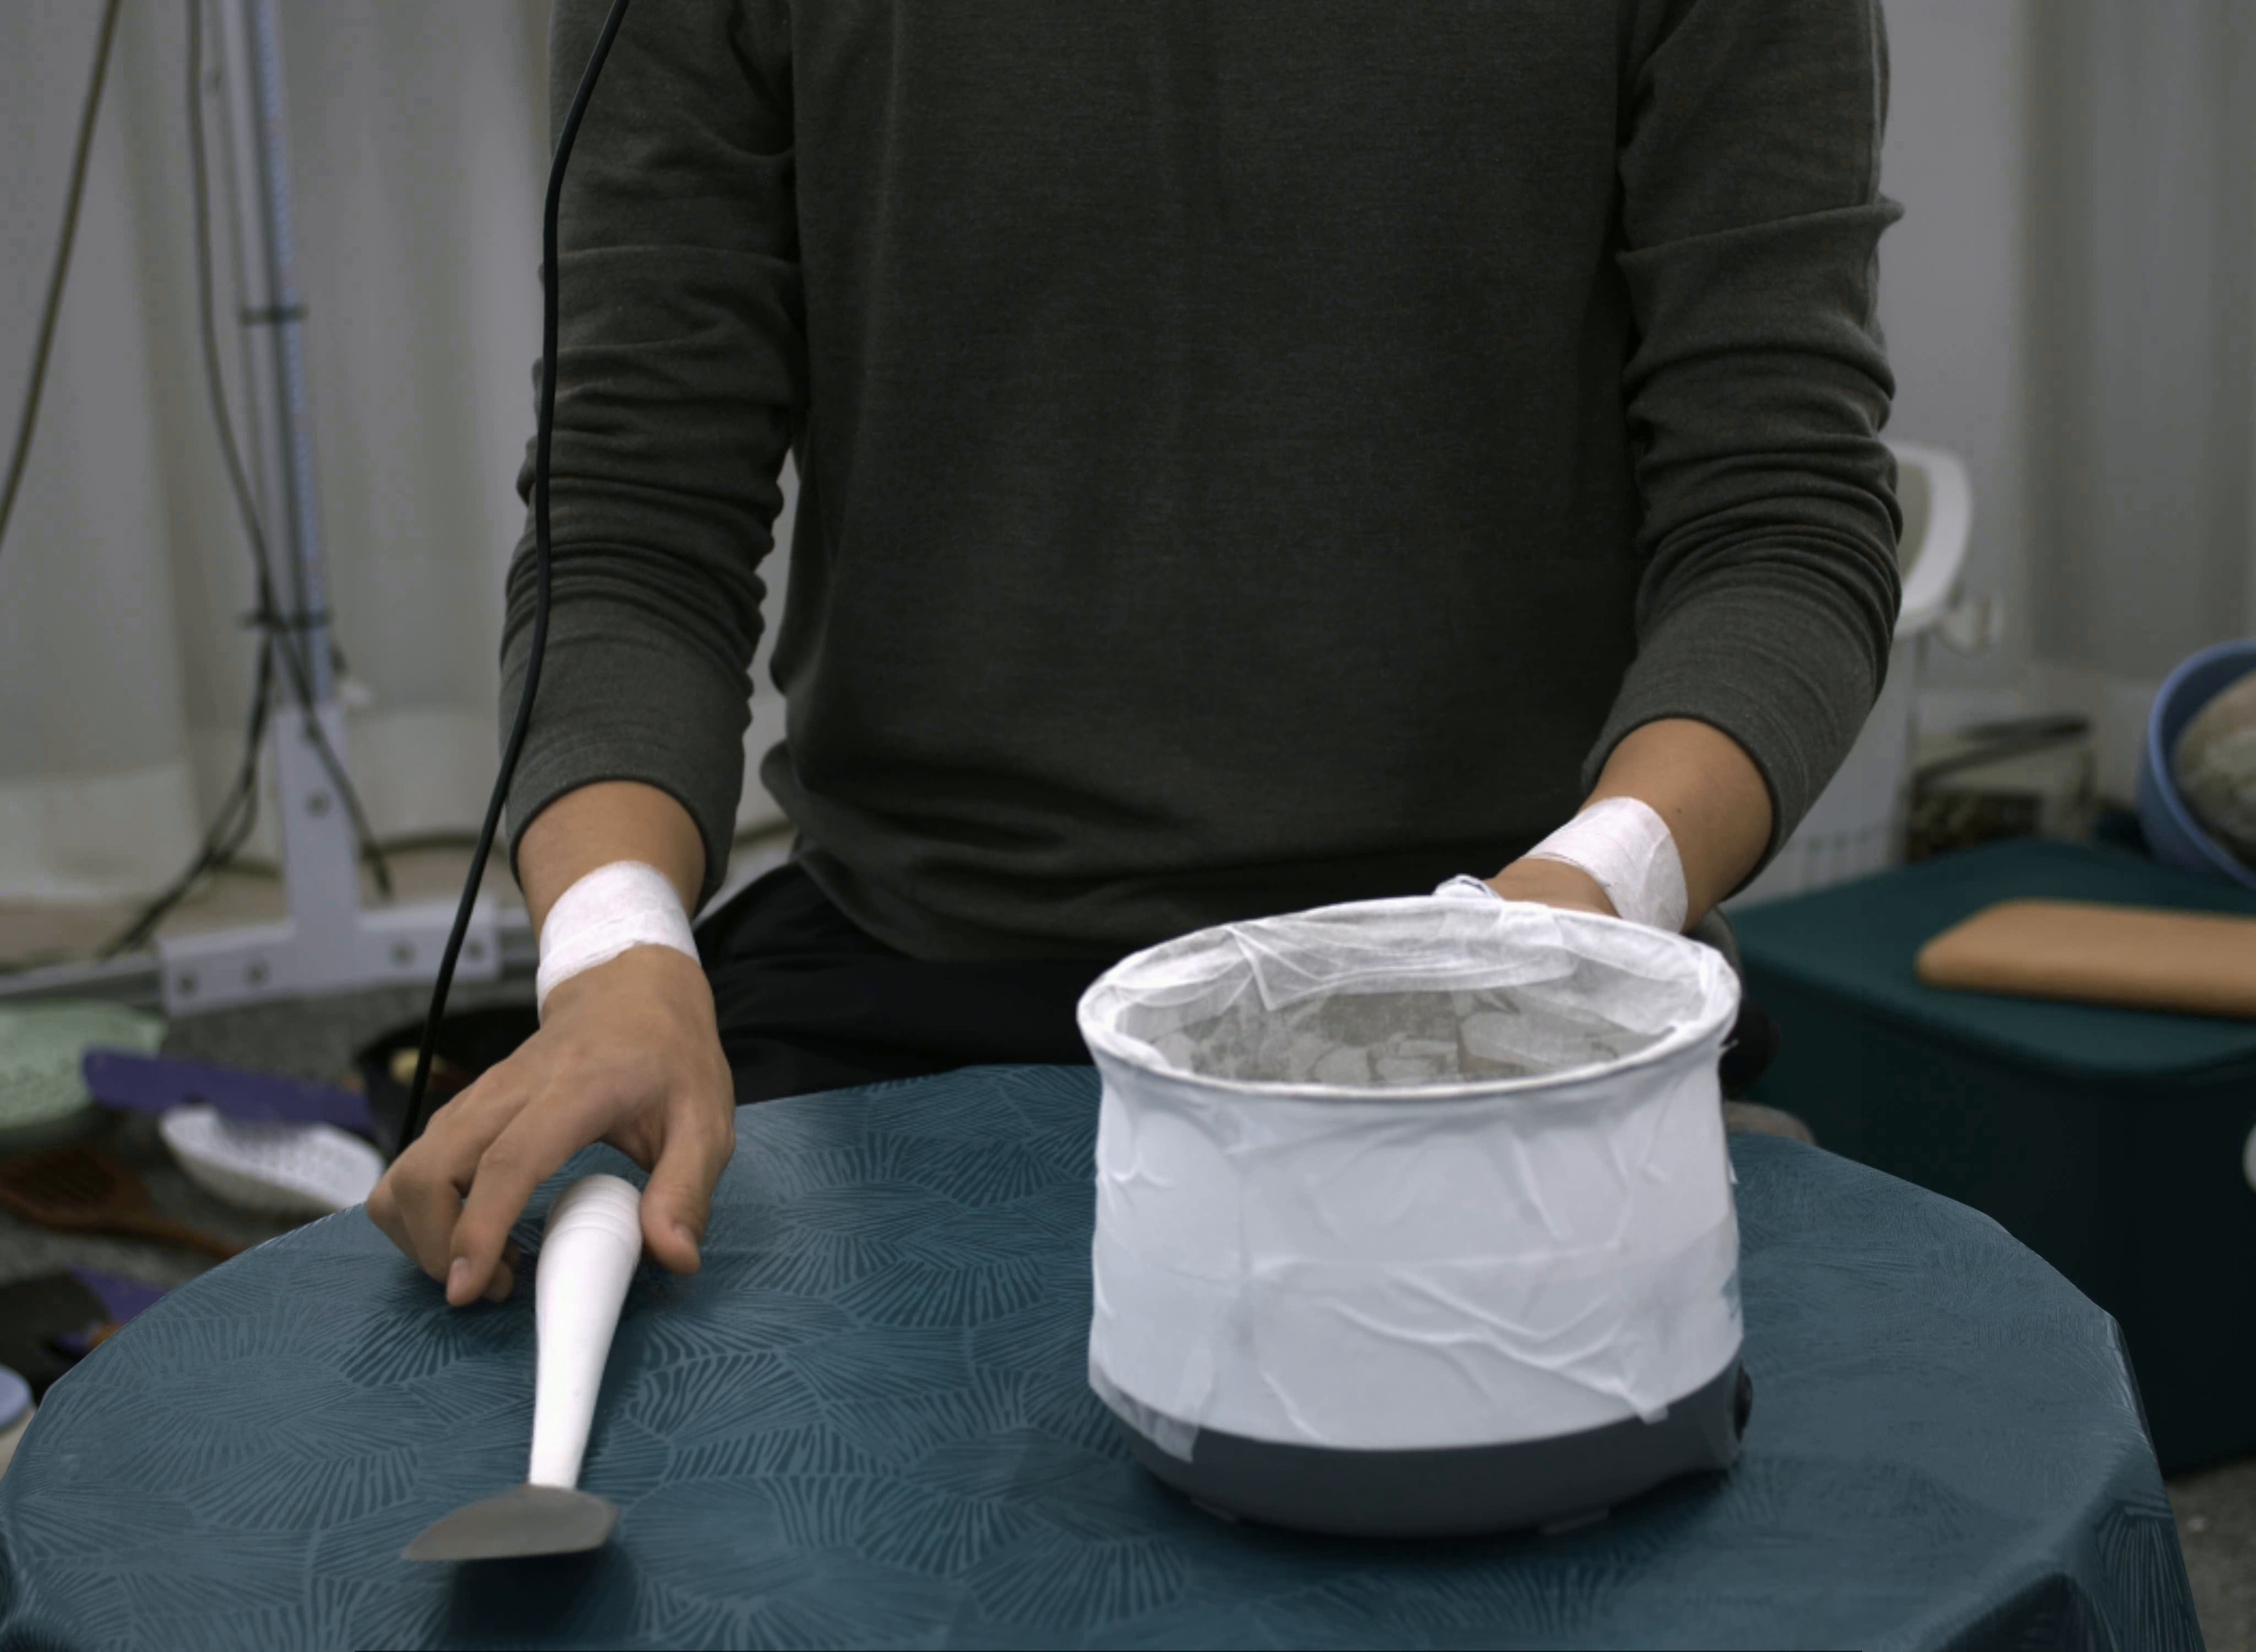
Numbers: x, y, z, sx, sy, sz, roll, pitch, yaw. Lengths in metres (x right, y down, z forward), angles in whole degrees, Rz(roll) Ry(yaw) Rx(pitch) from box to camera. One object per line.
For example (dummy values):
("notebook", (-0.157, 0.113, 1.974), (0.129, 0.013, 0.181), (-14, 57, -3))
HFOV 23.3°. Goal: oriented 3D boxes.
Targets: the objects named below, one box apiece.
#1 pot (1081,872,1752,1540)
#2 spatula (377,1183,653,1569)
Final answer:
("pot", (0.083, 0.098, 1.499), (0.178, 0.136, 0.235), (1, 15, 12))
("spatula", (-0.160, 0.158, 1.520), (0.058, 0.032, 0.289), (0, 14, 1))
